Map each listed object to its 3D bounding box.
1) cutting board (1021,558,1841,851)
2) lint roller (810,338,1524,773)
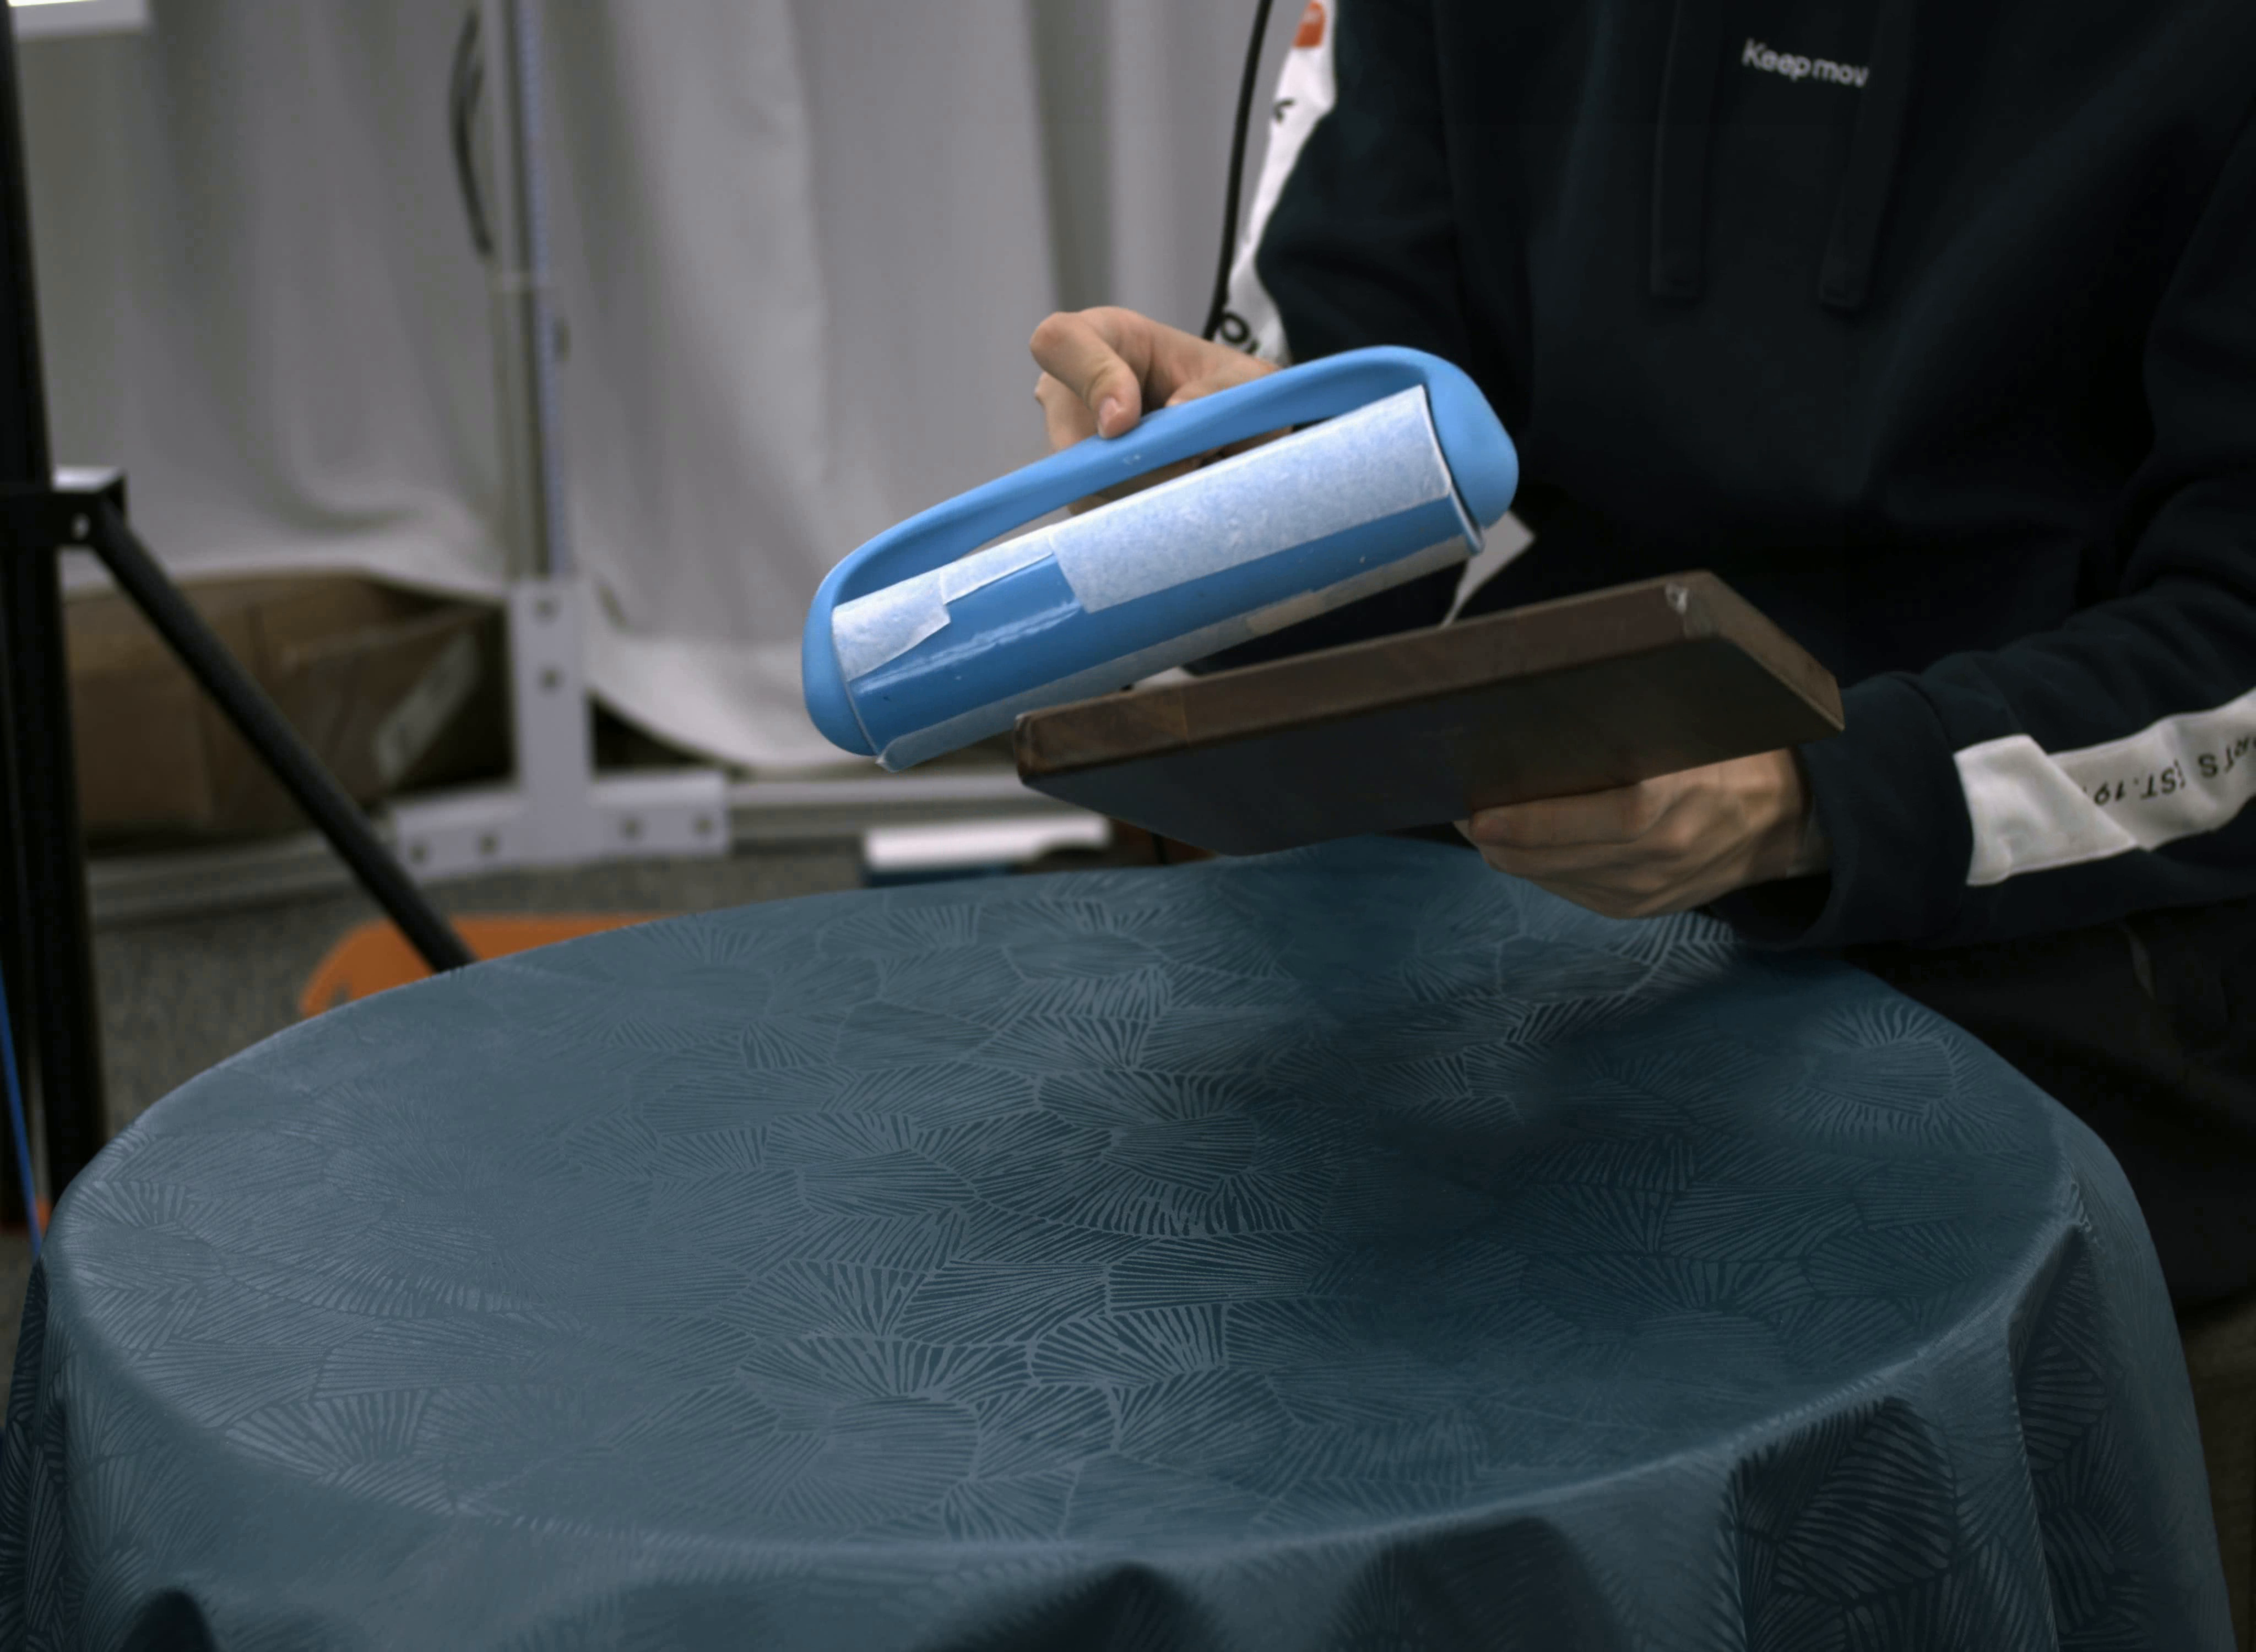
[{"bbox_3d":[0.104,-0.025,1.547,0.202,0.023,0.347,-11,-8,13],"label":"cutting board"},{"bbox_3d":[0.010,-0.096,1.655,0.229,0.067,0.181,-23,18,9],"label":"lint roller"}]
